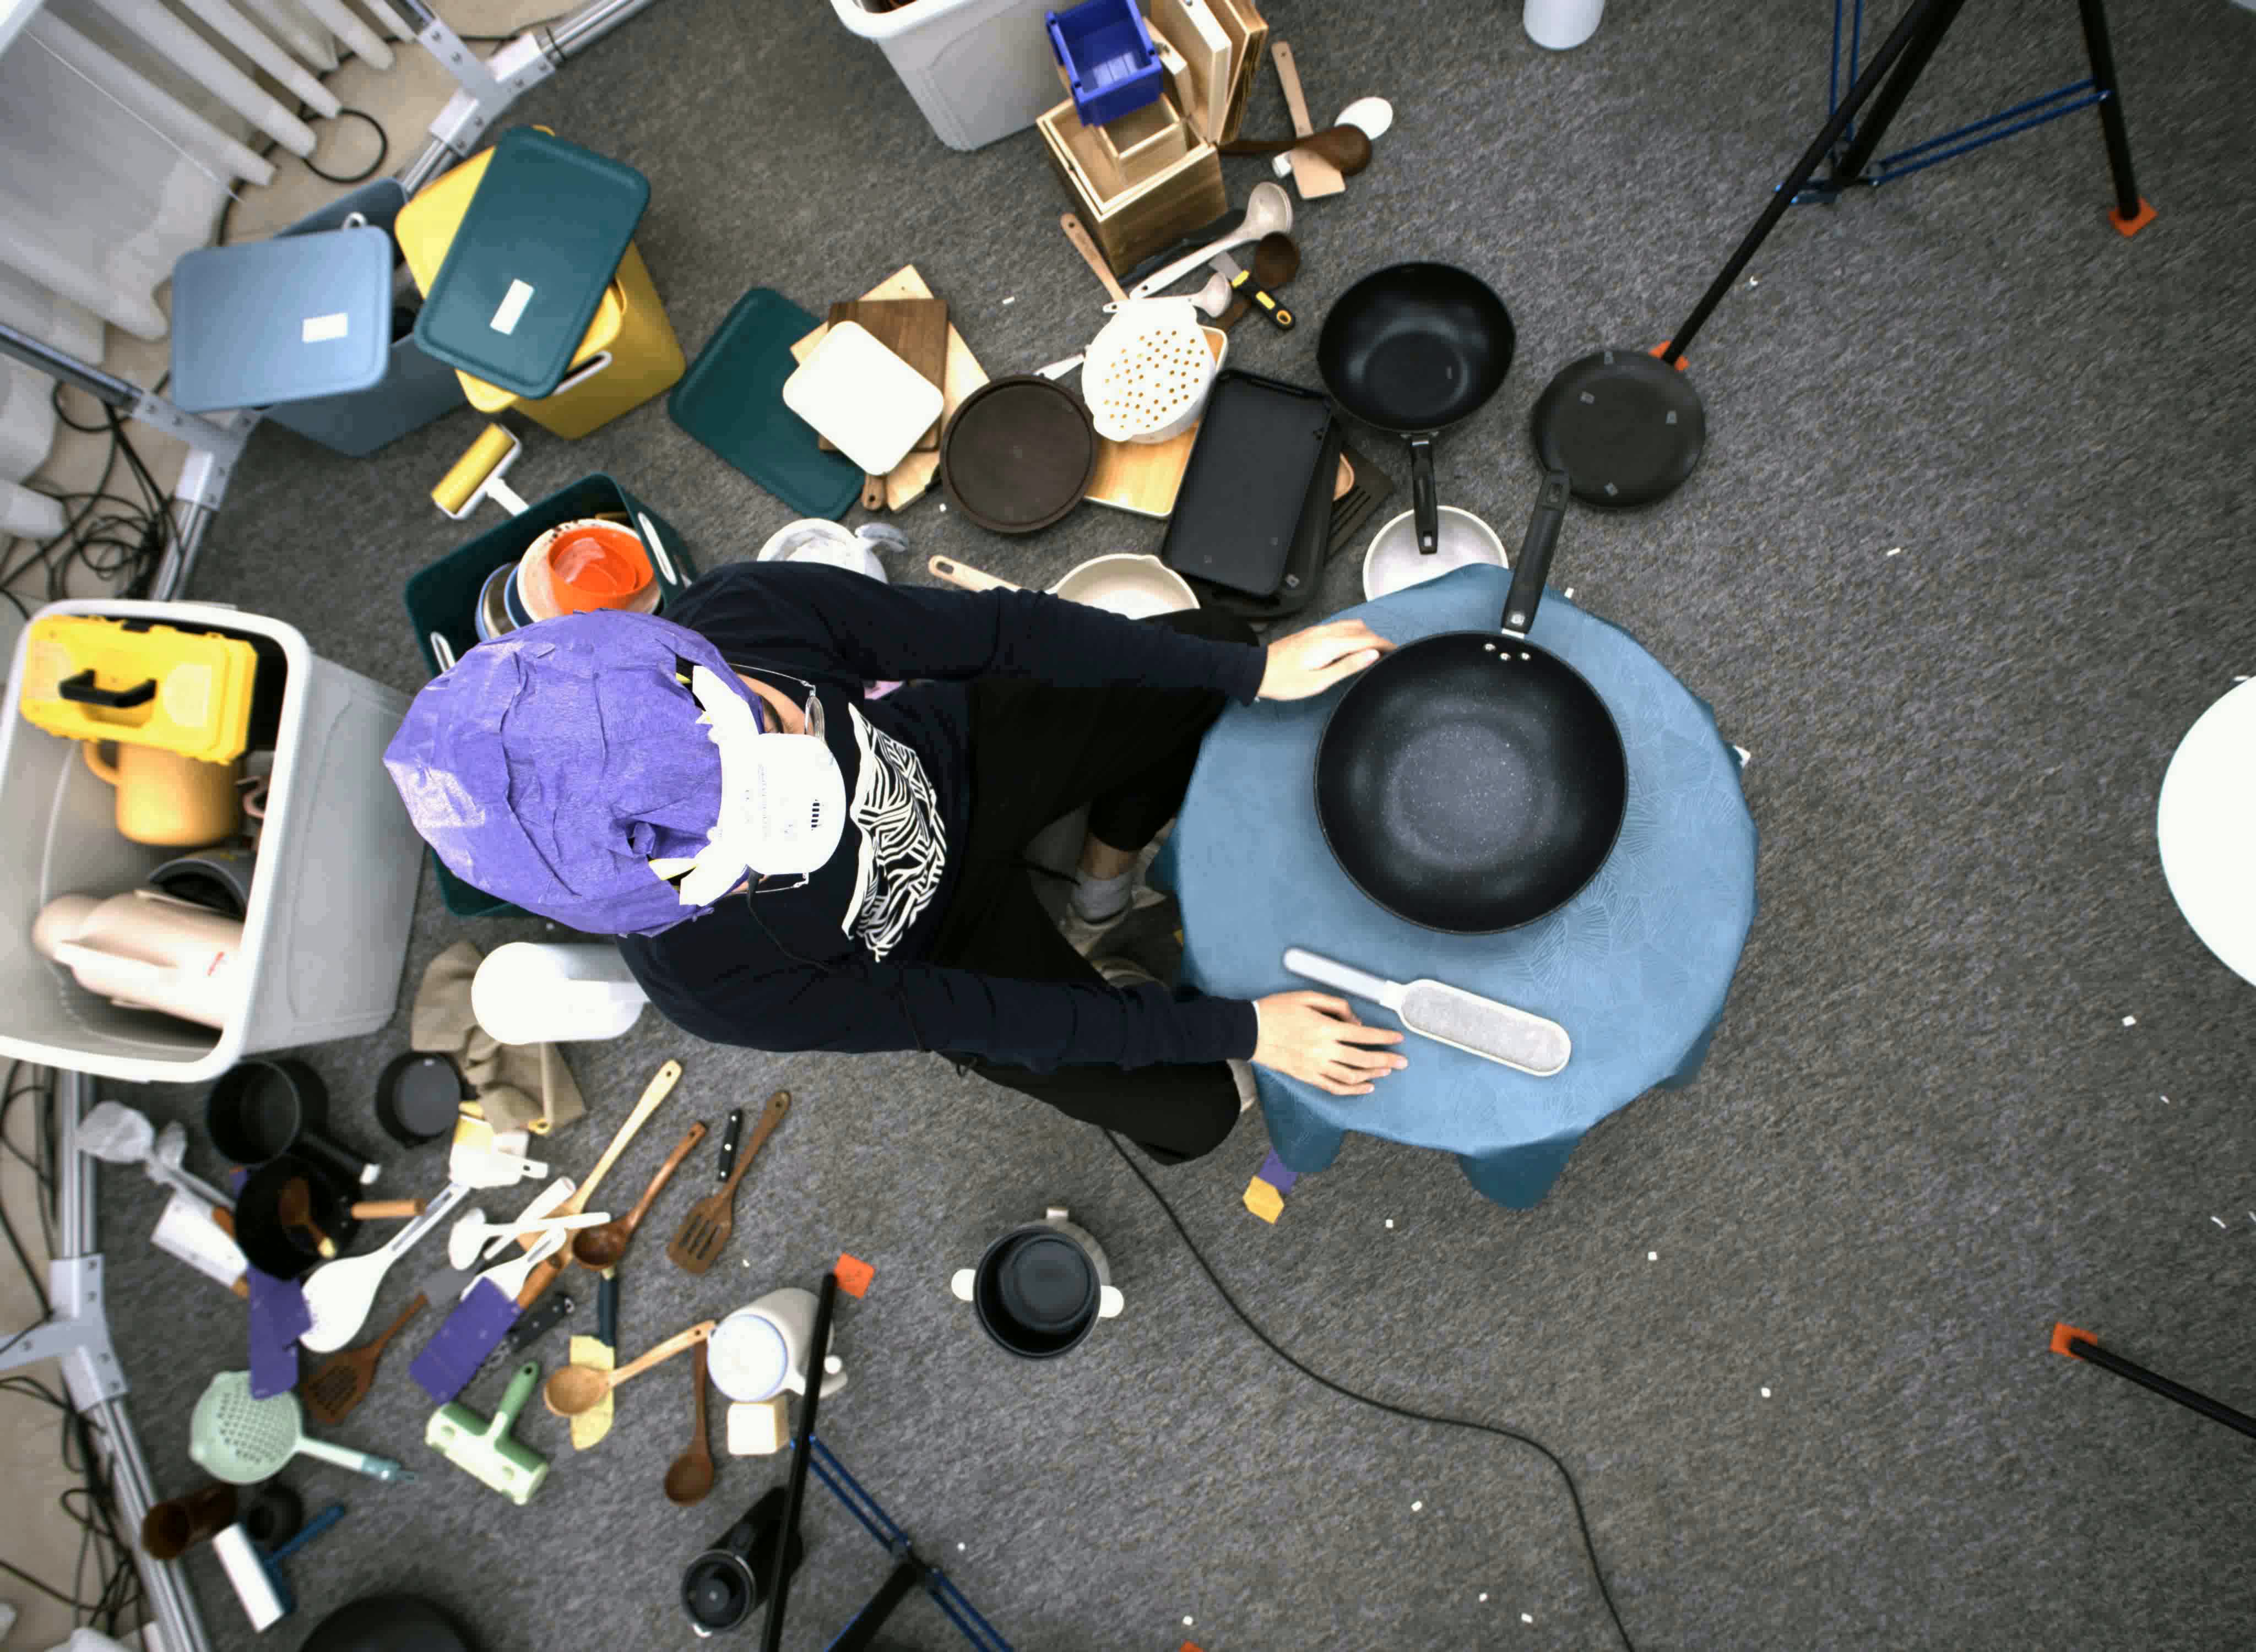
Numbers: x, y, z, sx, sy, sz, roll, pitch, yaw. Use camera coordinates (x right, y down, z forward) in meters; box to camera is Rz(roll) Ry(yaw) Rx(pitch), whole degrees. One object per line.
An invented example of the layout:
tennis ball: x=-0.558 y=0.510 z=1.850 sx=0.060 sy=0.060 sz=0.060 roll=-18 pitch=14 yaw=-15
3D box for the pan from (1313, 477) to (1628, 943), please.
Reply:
pan: x=0.368 y=-0.117 z=1.397 sx=0.310 sy=0.111 sz=0.476 roll=17 pitch=90 yaw=10

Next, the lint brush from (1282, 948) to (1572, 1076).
lint brush: x=0.307 y=0.184 z=1.433 sx=0.309 sy=0.021 sz=0.060 roll=19 pitch=96 yaw=11
